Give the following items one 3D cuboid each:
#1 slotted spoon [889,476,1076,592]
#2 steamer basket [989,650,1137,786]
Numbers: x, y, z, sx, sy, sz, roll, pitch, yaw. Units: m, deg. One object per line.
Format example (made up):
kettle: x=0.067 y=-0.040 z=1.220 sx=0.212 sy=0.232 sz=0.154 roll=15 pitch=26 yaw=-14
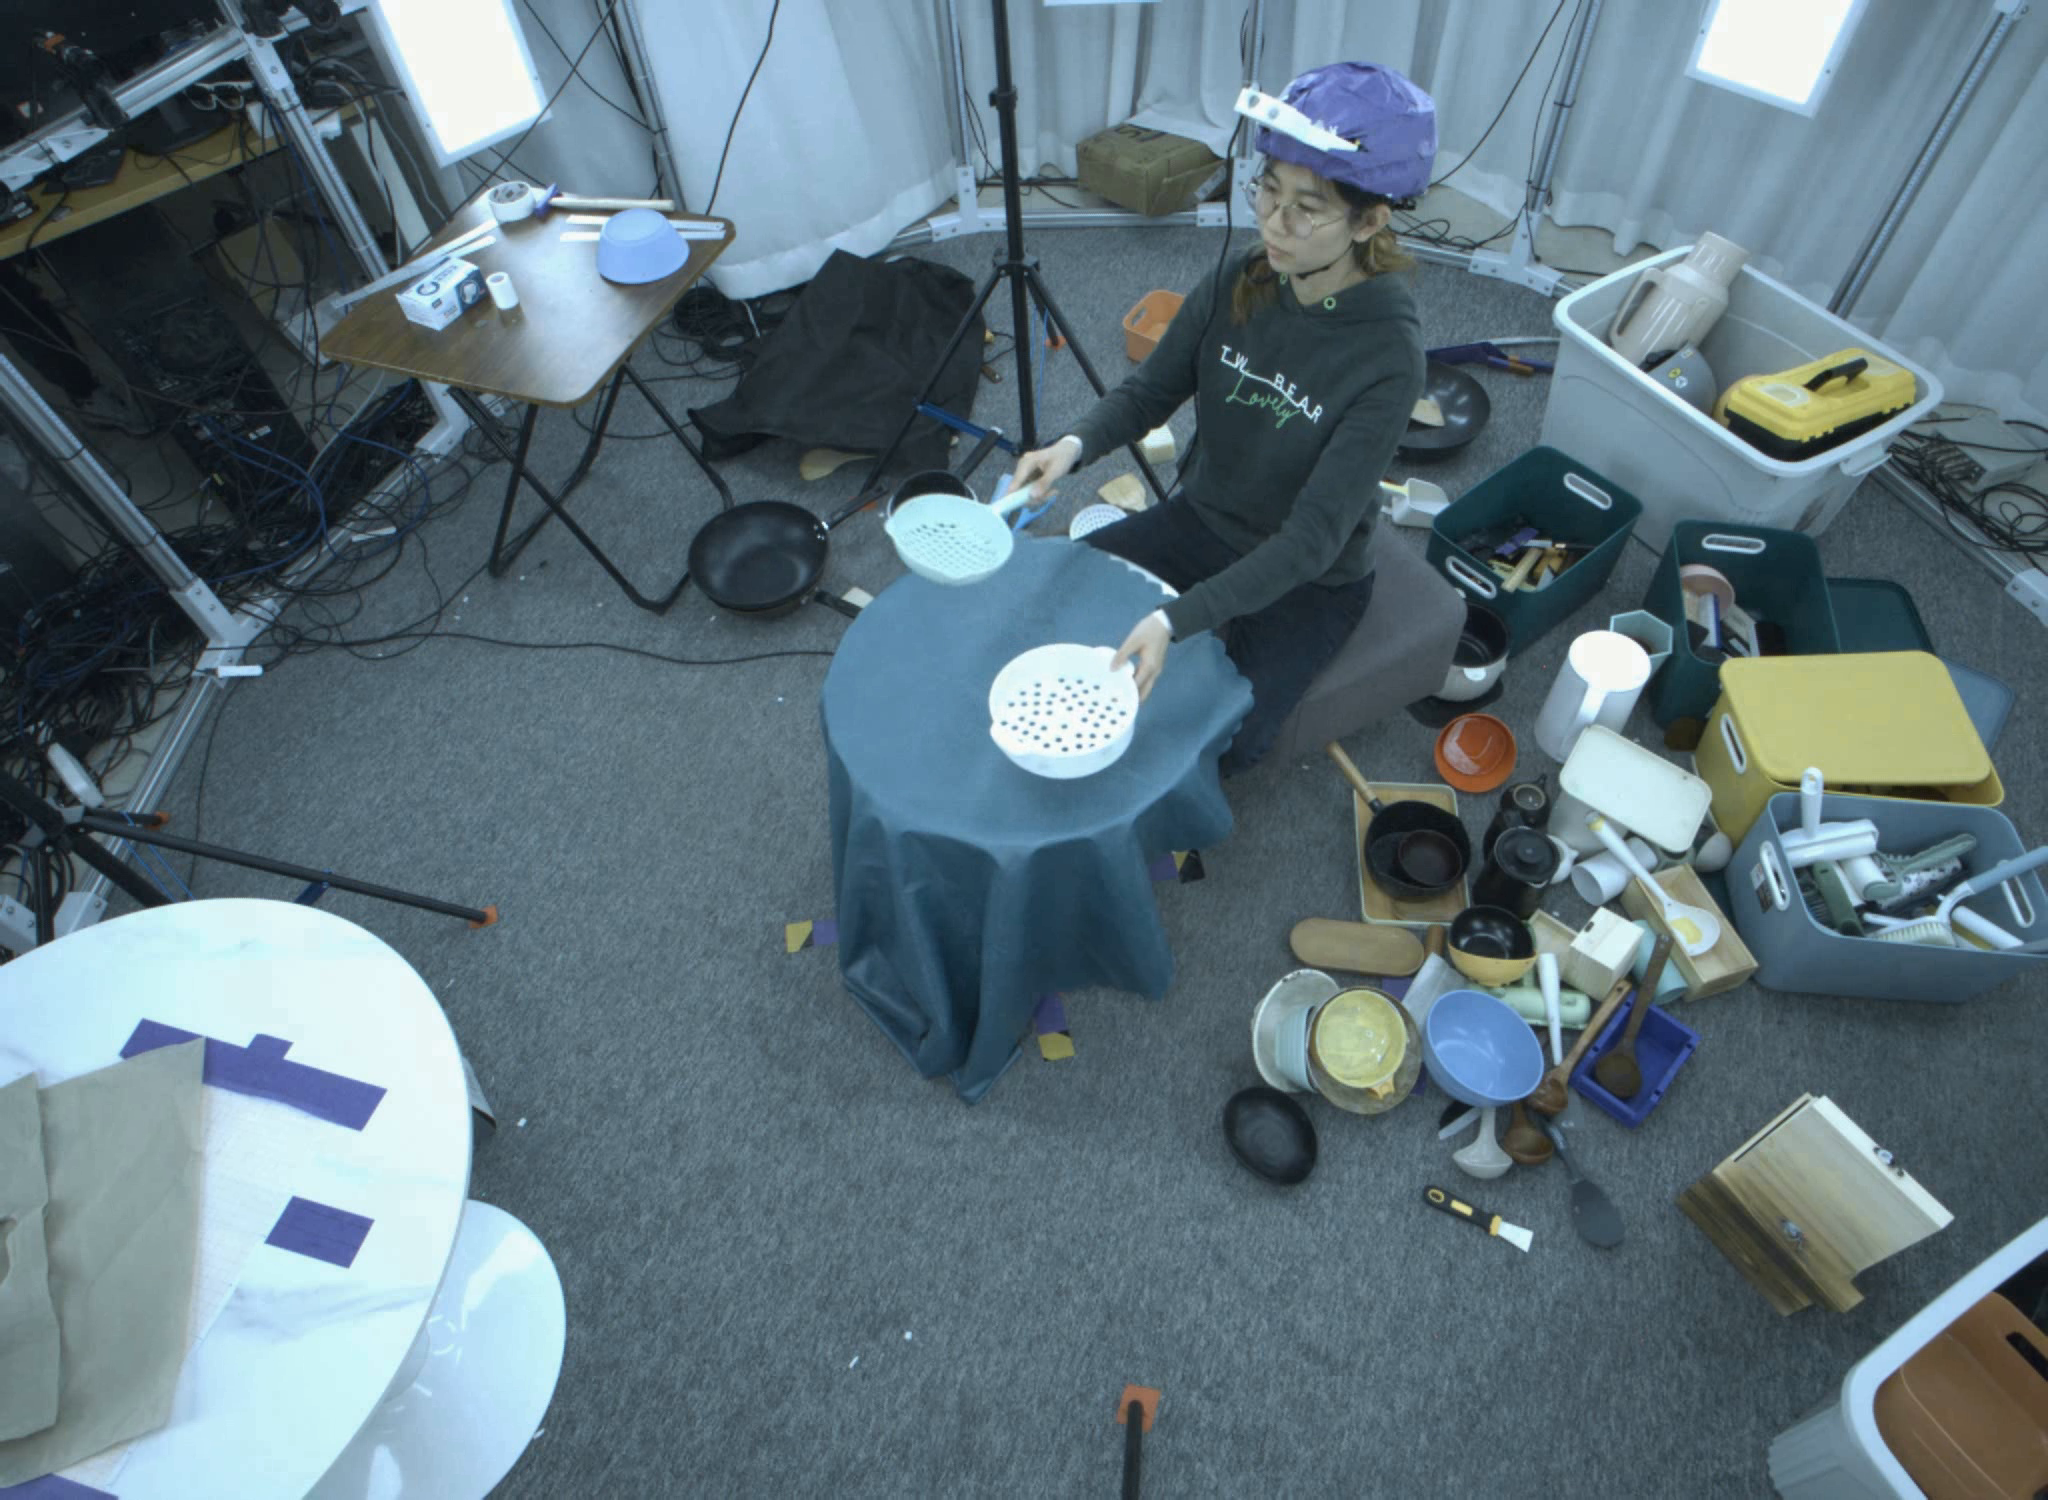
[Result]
slotted spoon: x=-0.036 y=-0.328 z=1.744 sx=0.167 sy=0.075 sz=0.361 roll=38 pitch=57 yaw=15
steamer basket: x=0.053 y=-0.043 z=1.693 sx=0.198 sy=0.070 sz=0.232 roll=39 pitch=62 yaw=25
